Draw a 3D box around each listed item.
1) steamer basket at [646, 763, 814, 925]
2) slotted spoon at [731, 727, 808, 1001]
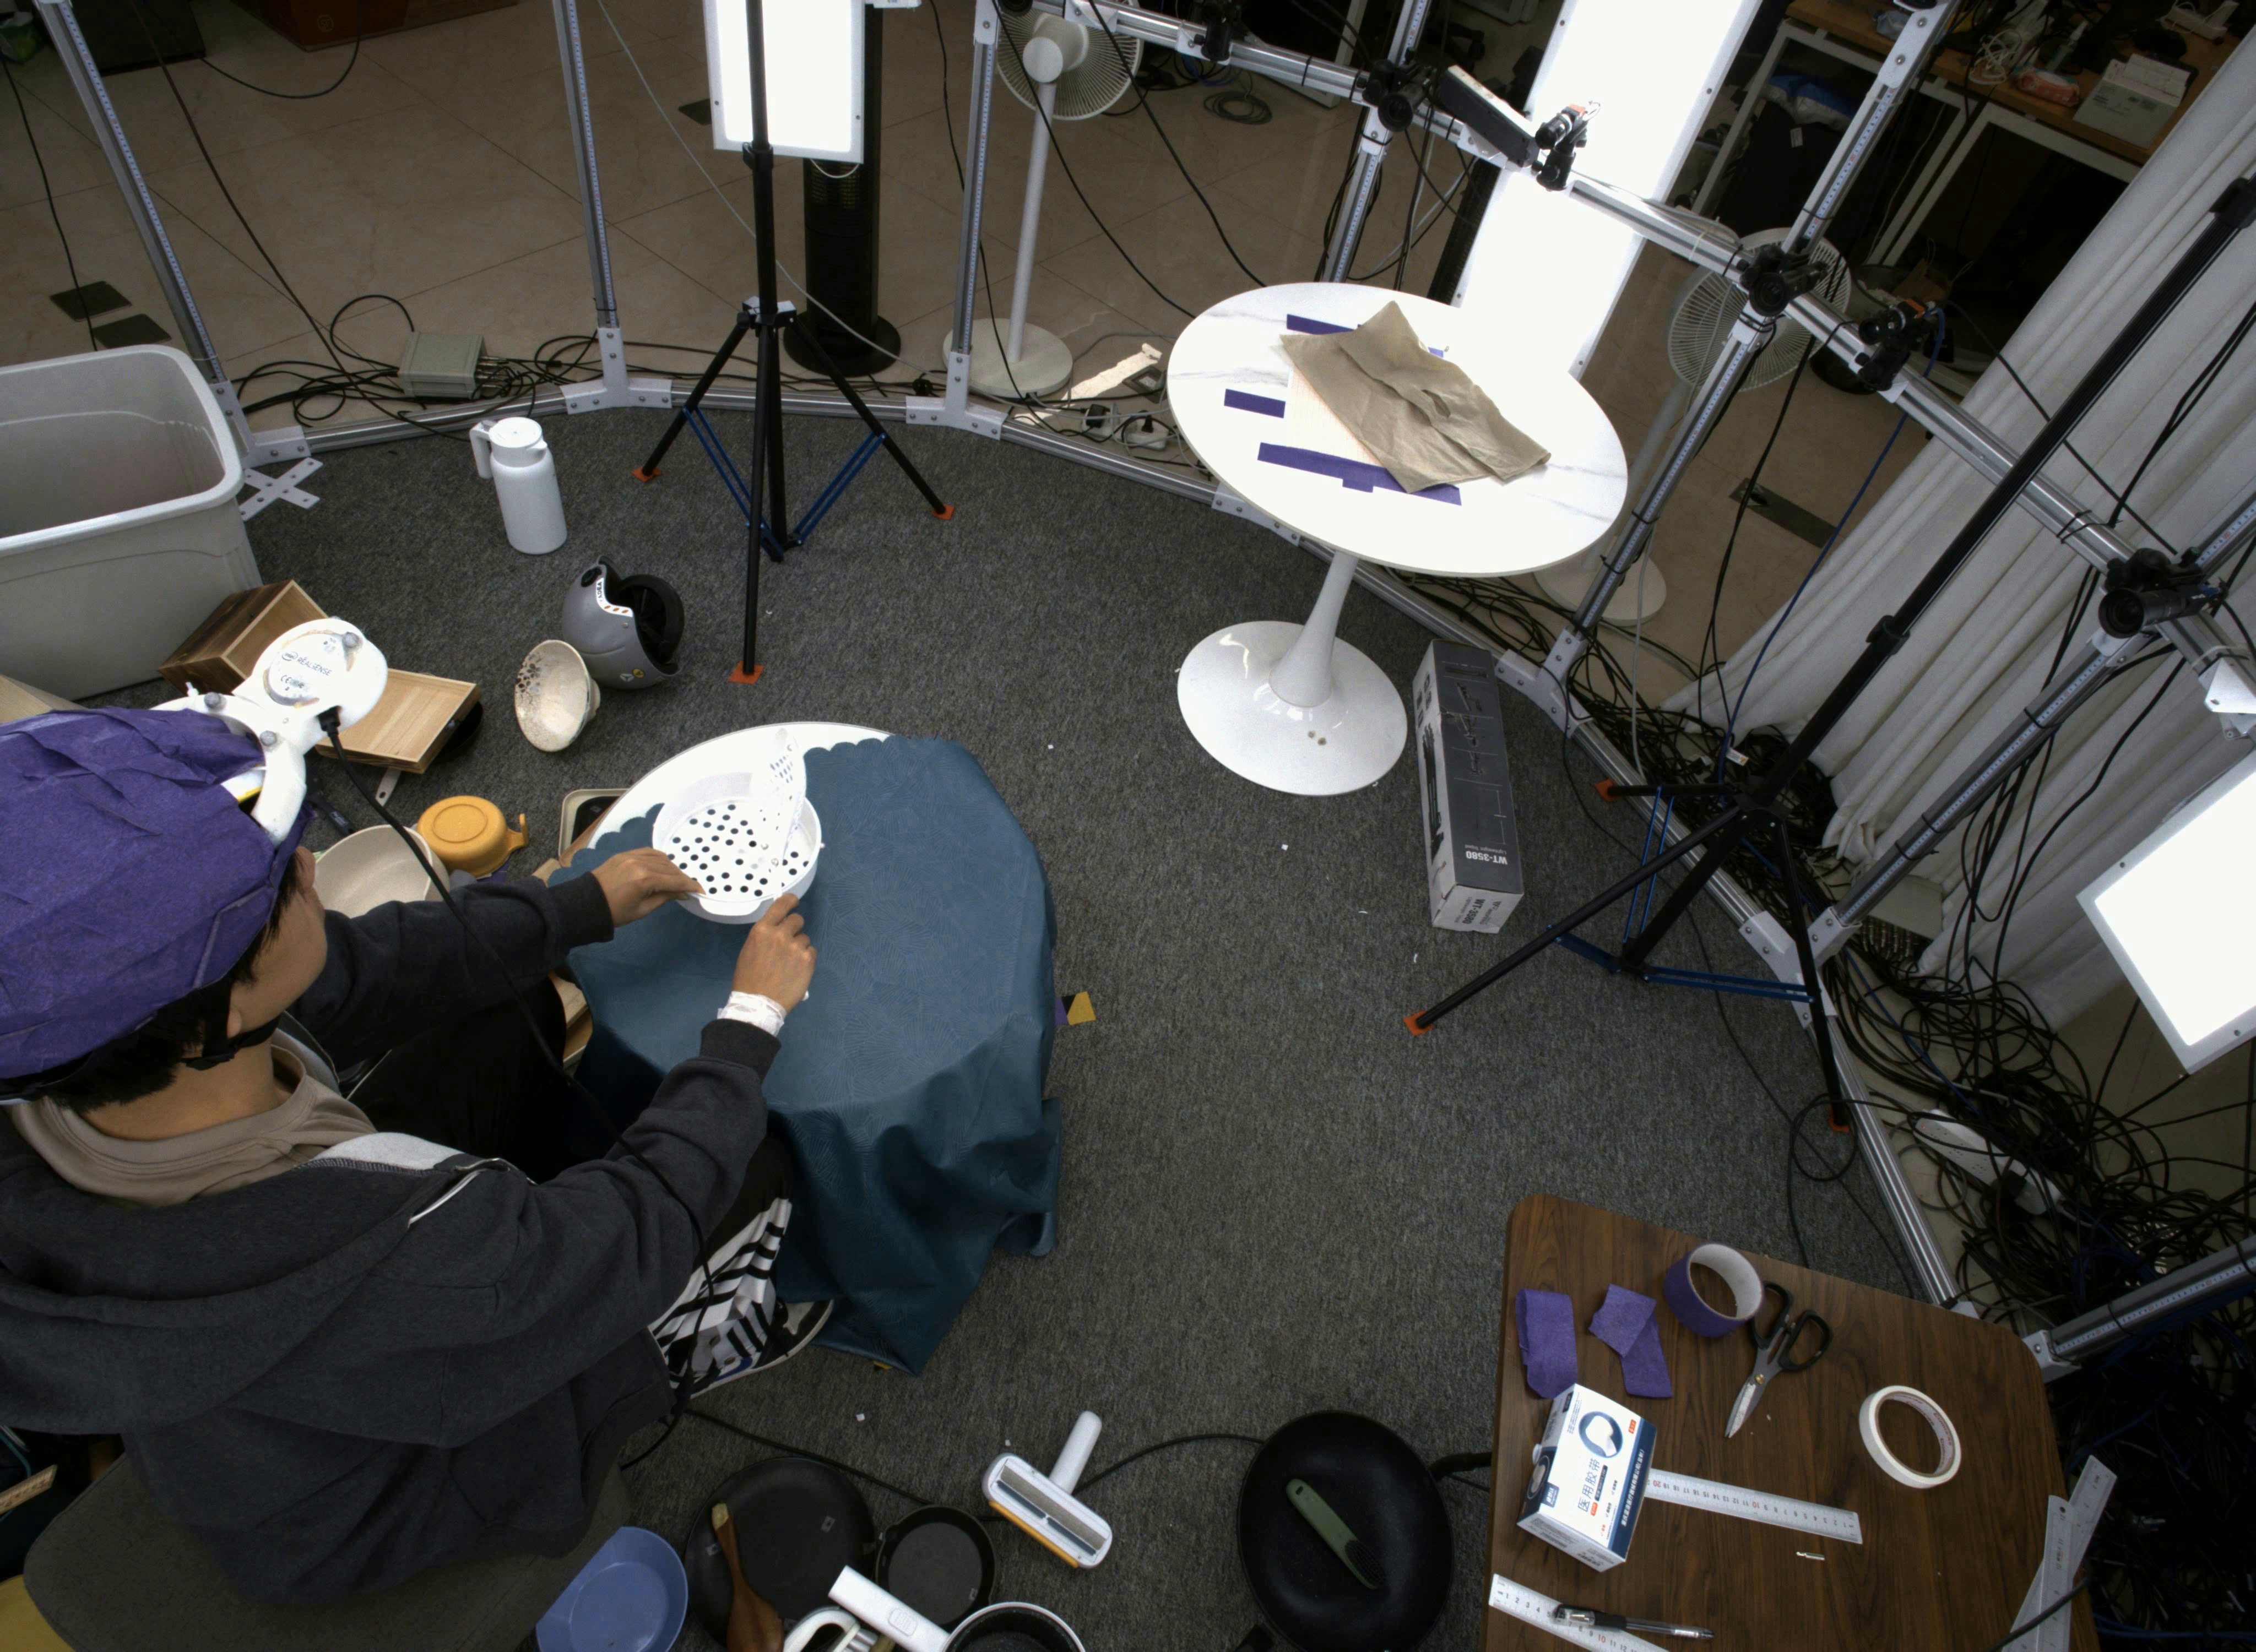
[{"bbox_3d":[-0.493,0.027,1.606,0.202,0.070,0.226,3,53,-13],"label":"steamer basket"},{"bbox_3d":[-0.398,0.044,1.463,0.051,0.136,0.340,15,46,-35],"label":"slotted spoon"}]
